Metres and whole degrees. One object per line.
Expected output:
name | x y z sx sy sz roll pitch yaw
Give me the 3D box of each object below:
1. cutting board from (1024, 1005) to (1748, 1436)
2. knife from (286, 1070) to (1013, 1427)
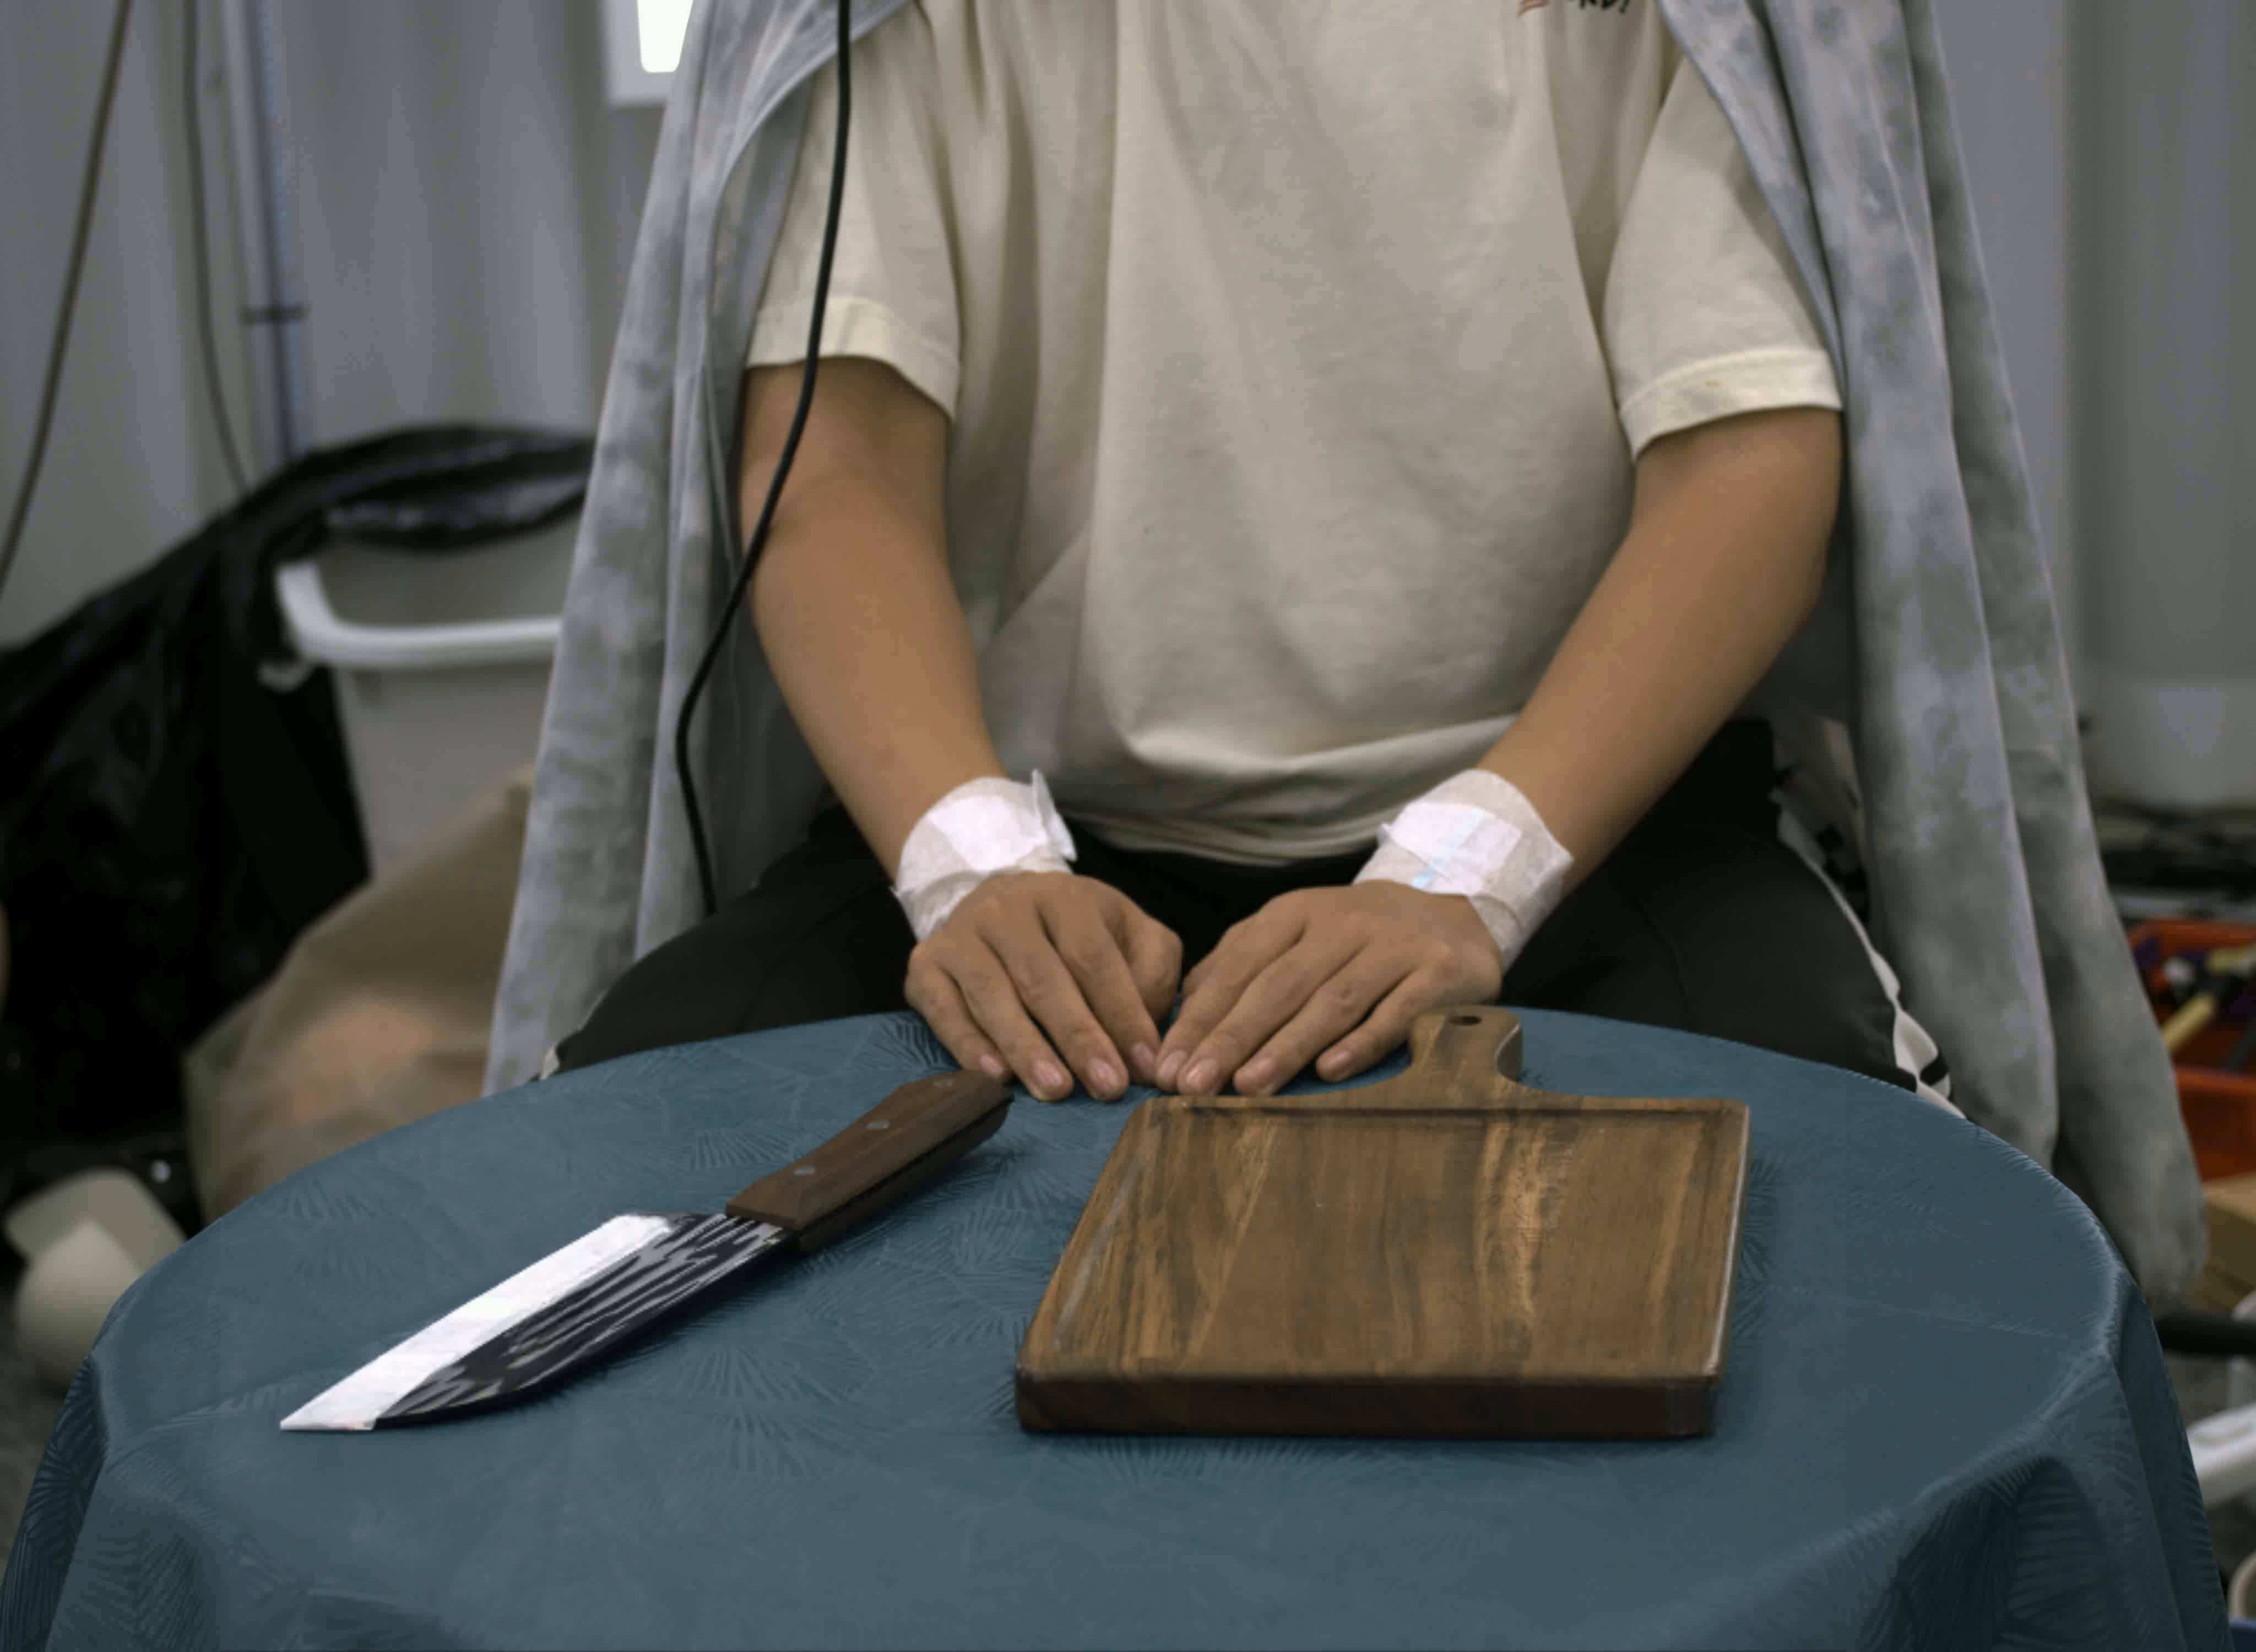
cutting board | 0.089 0.114 1.665 0.200 0.023 0.354 0 14 8
knife | -0.139 0.129 1.656 0.068 0.024 0.300 4 18 34
